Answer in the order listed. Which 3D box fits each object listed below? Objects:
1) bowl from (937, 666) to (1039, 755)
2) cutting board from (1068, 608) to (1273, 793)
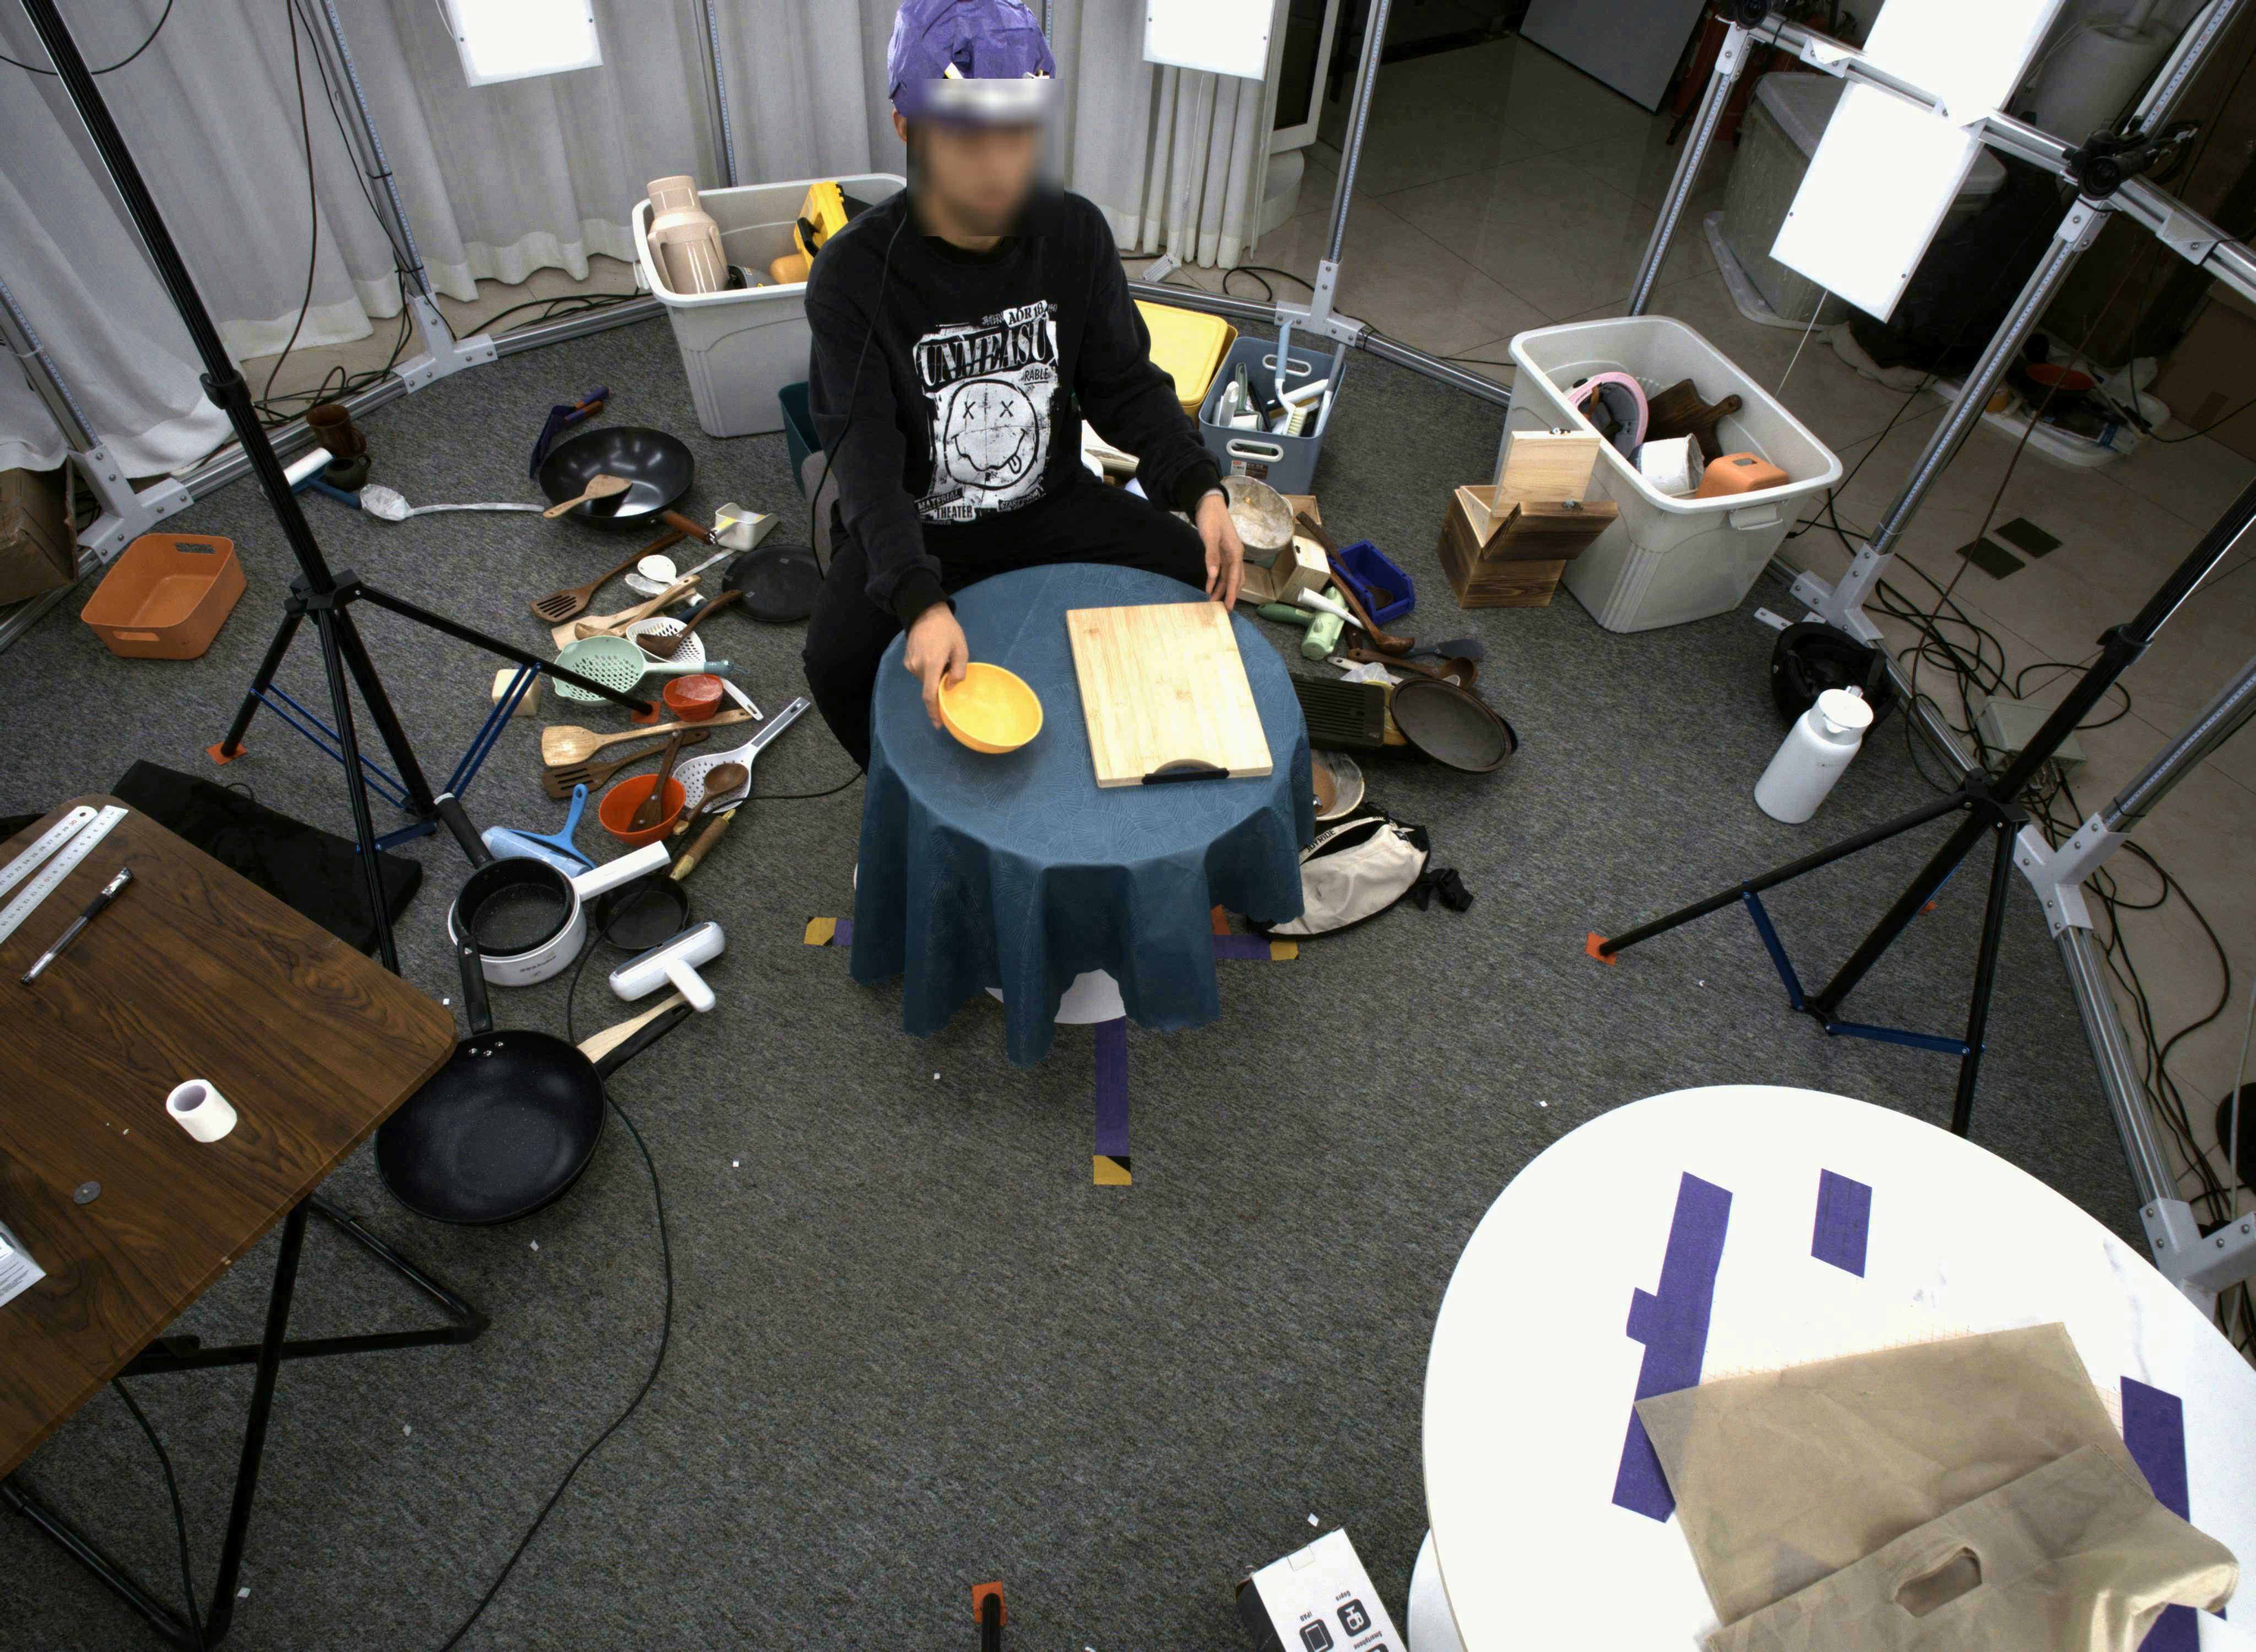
[{"bbox_3d":[-0.197,-0.144,1.731,0.144,0.059,0.149,19,42,-19],"label":"bowl"},{"bbox_3d":[0.053,-0.190,1.843,0.250,0.023,0.357,-6,49,-8],"label":"cutting board"}]
